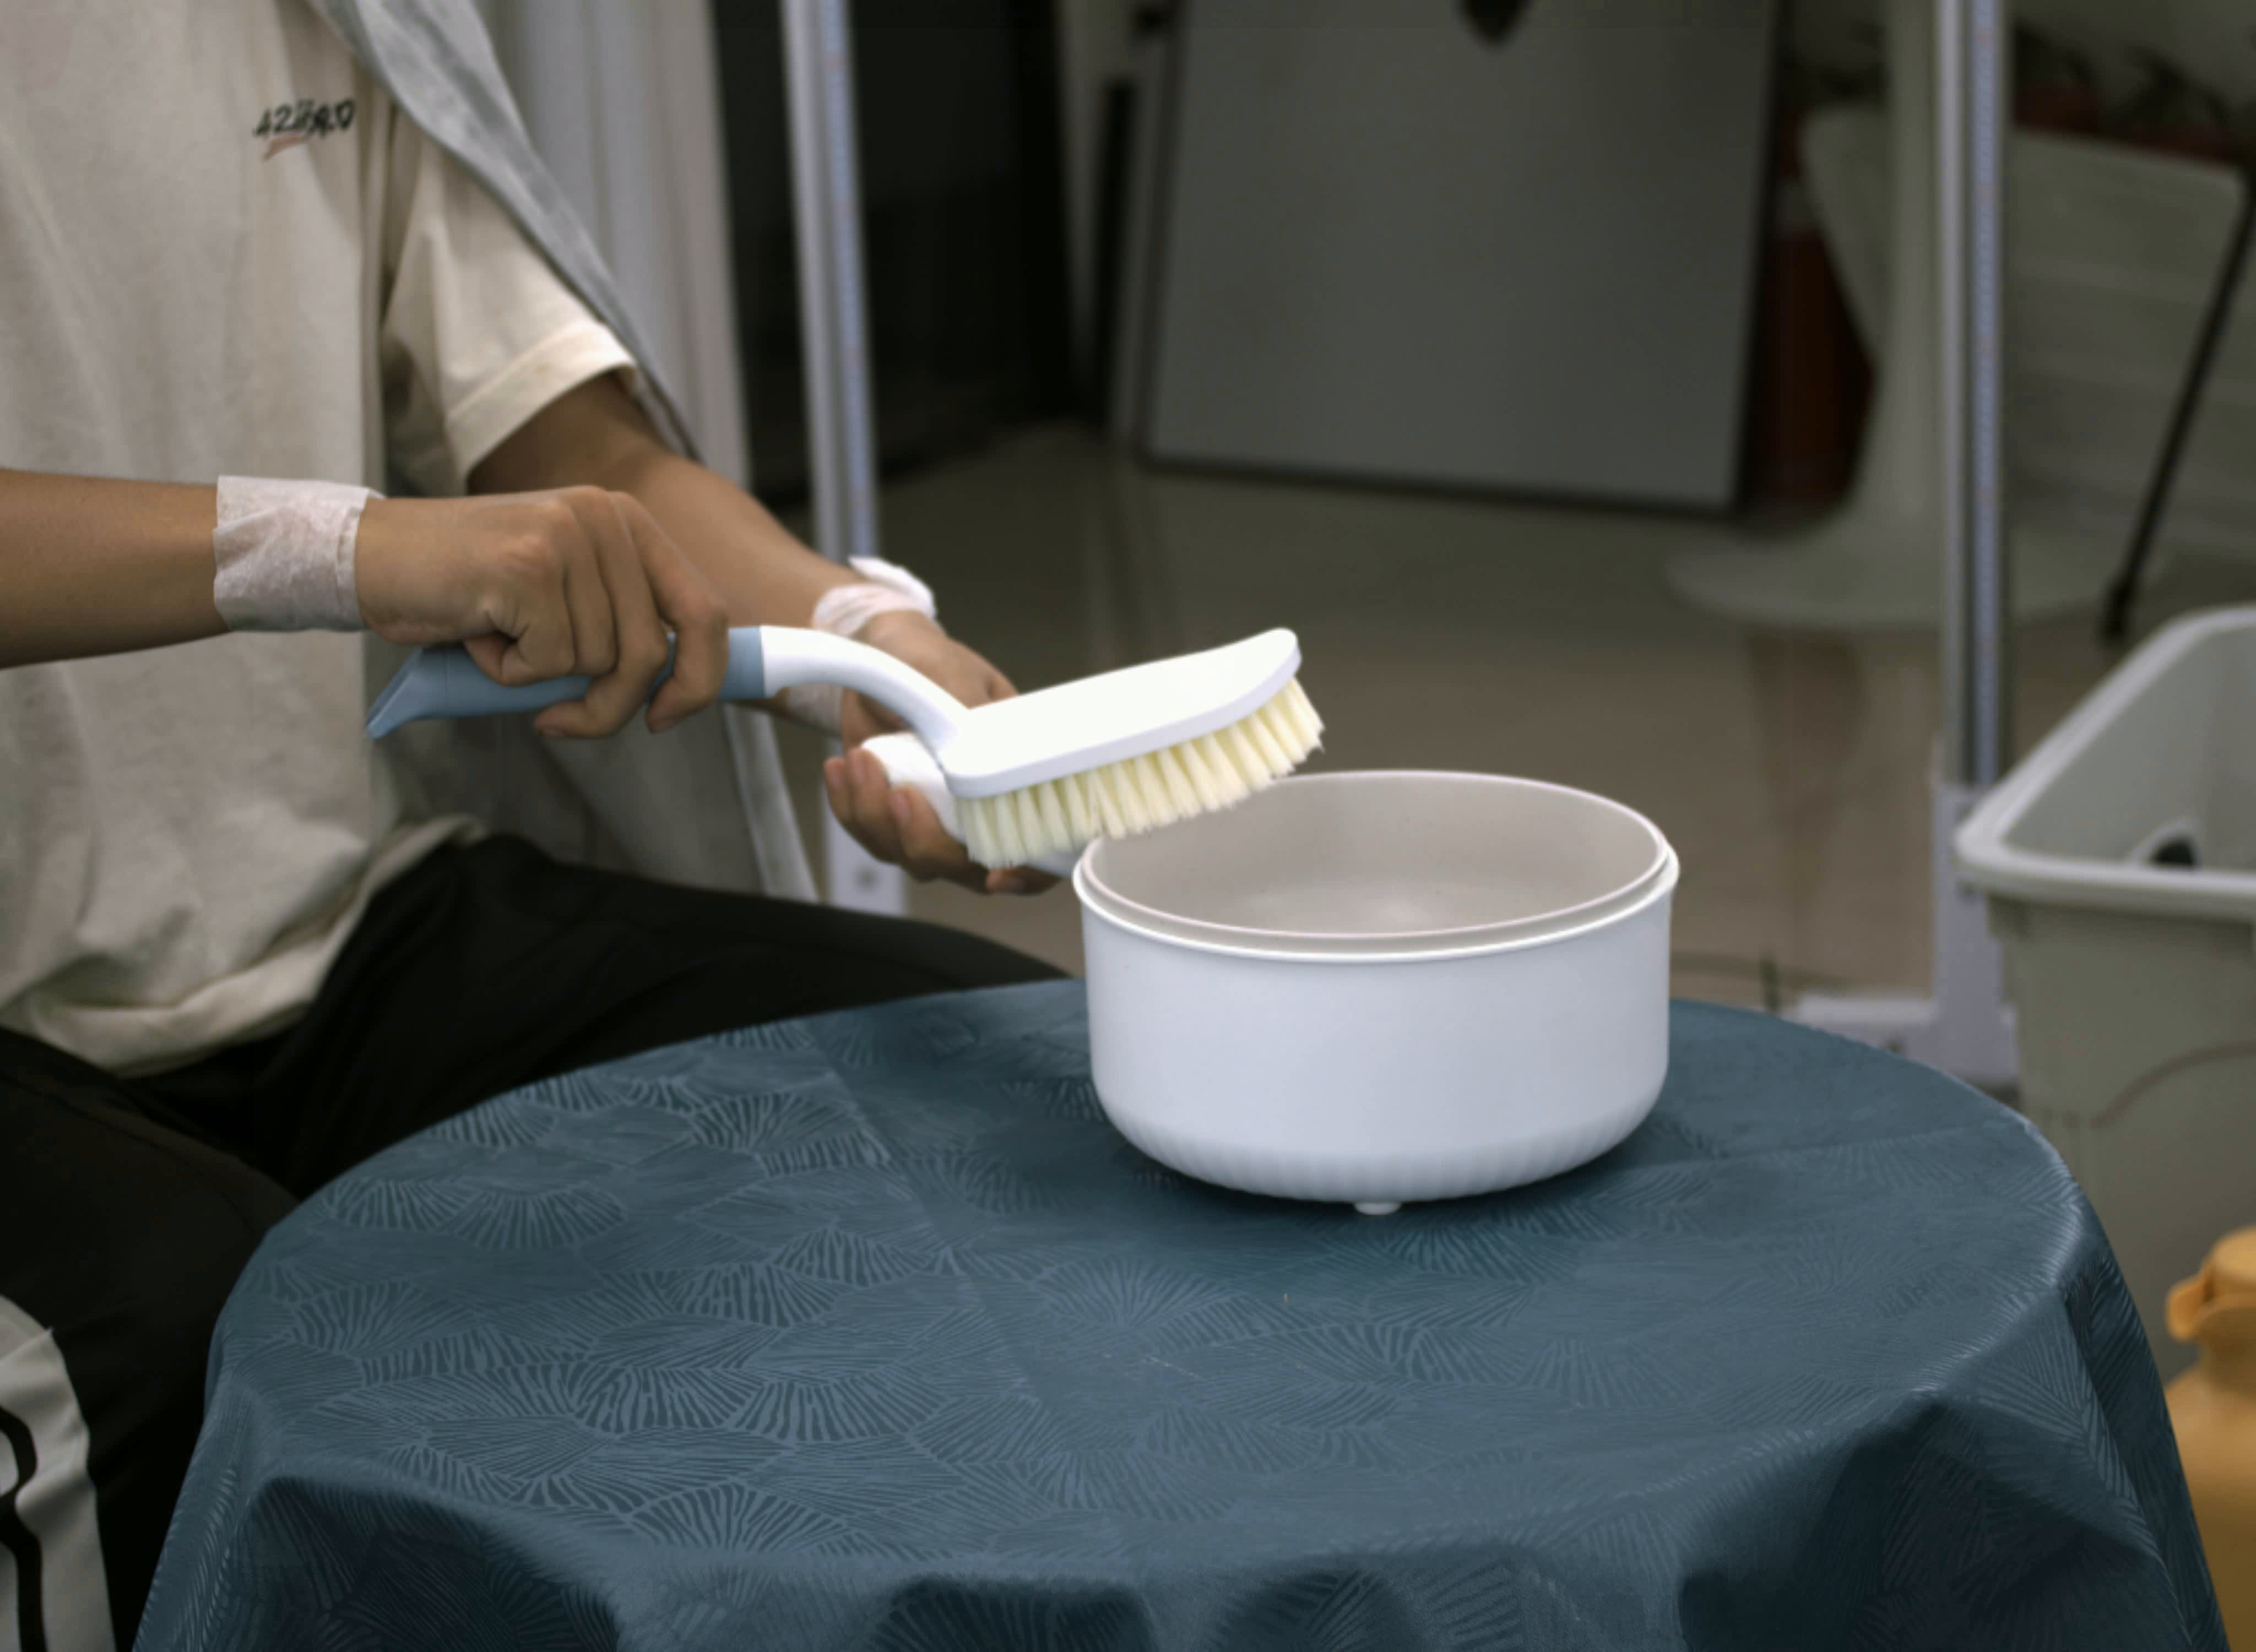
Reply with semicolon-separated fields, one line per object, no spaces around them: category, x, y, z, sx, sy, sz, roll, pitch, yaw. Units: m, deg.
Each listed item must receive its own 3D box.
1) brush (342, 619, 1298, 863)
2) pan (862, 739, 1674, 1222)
brush;-0.102;-0.020;1.828;0.320;0.085;0.083;-4;-19;-3
pan;0.032;0.045;1.850;0.197;0.103;0.358;-16;19;-38
